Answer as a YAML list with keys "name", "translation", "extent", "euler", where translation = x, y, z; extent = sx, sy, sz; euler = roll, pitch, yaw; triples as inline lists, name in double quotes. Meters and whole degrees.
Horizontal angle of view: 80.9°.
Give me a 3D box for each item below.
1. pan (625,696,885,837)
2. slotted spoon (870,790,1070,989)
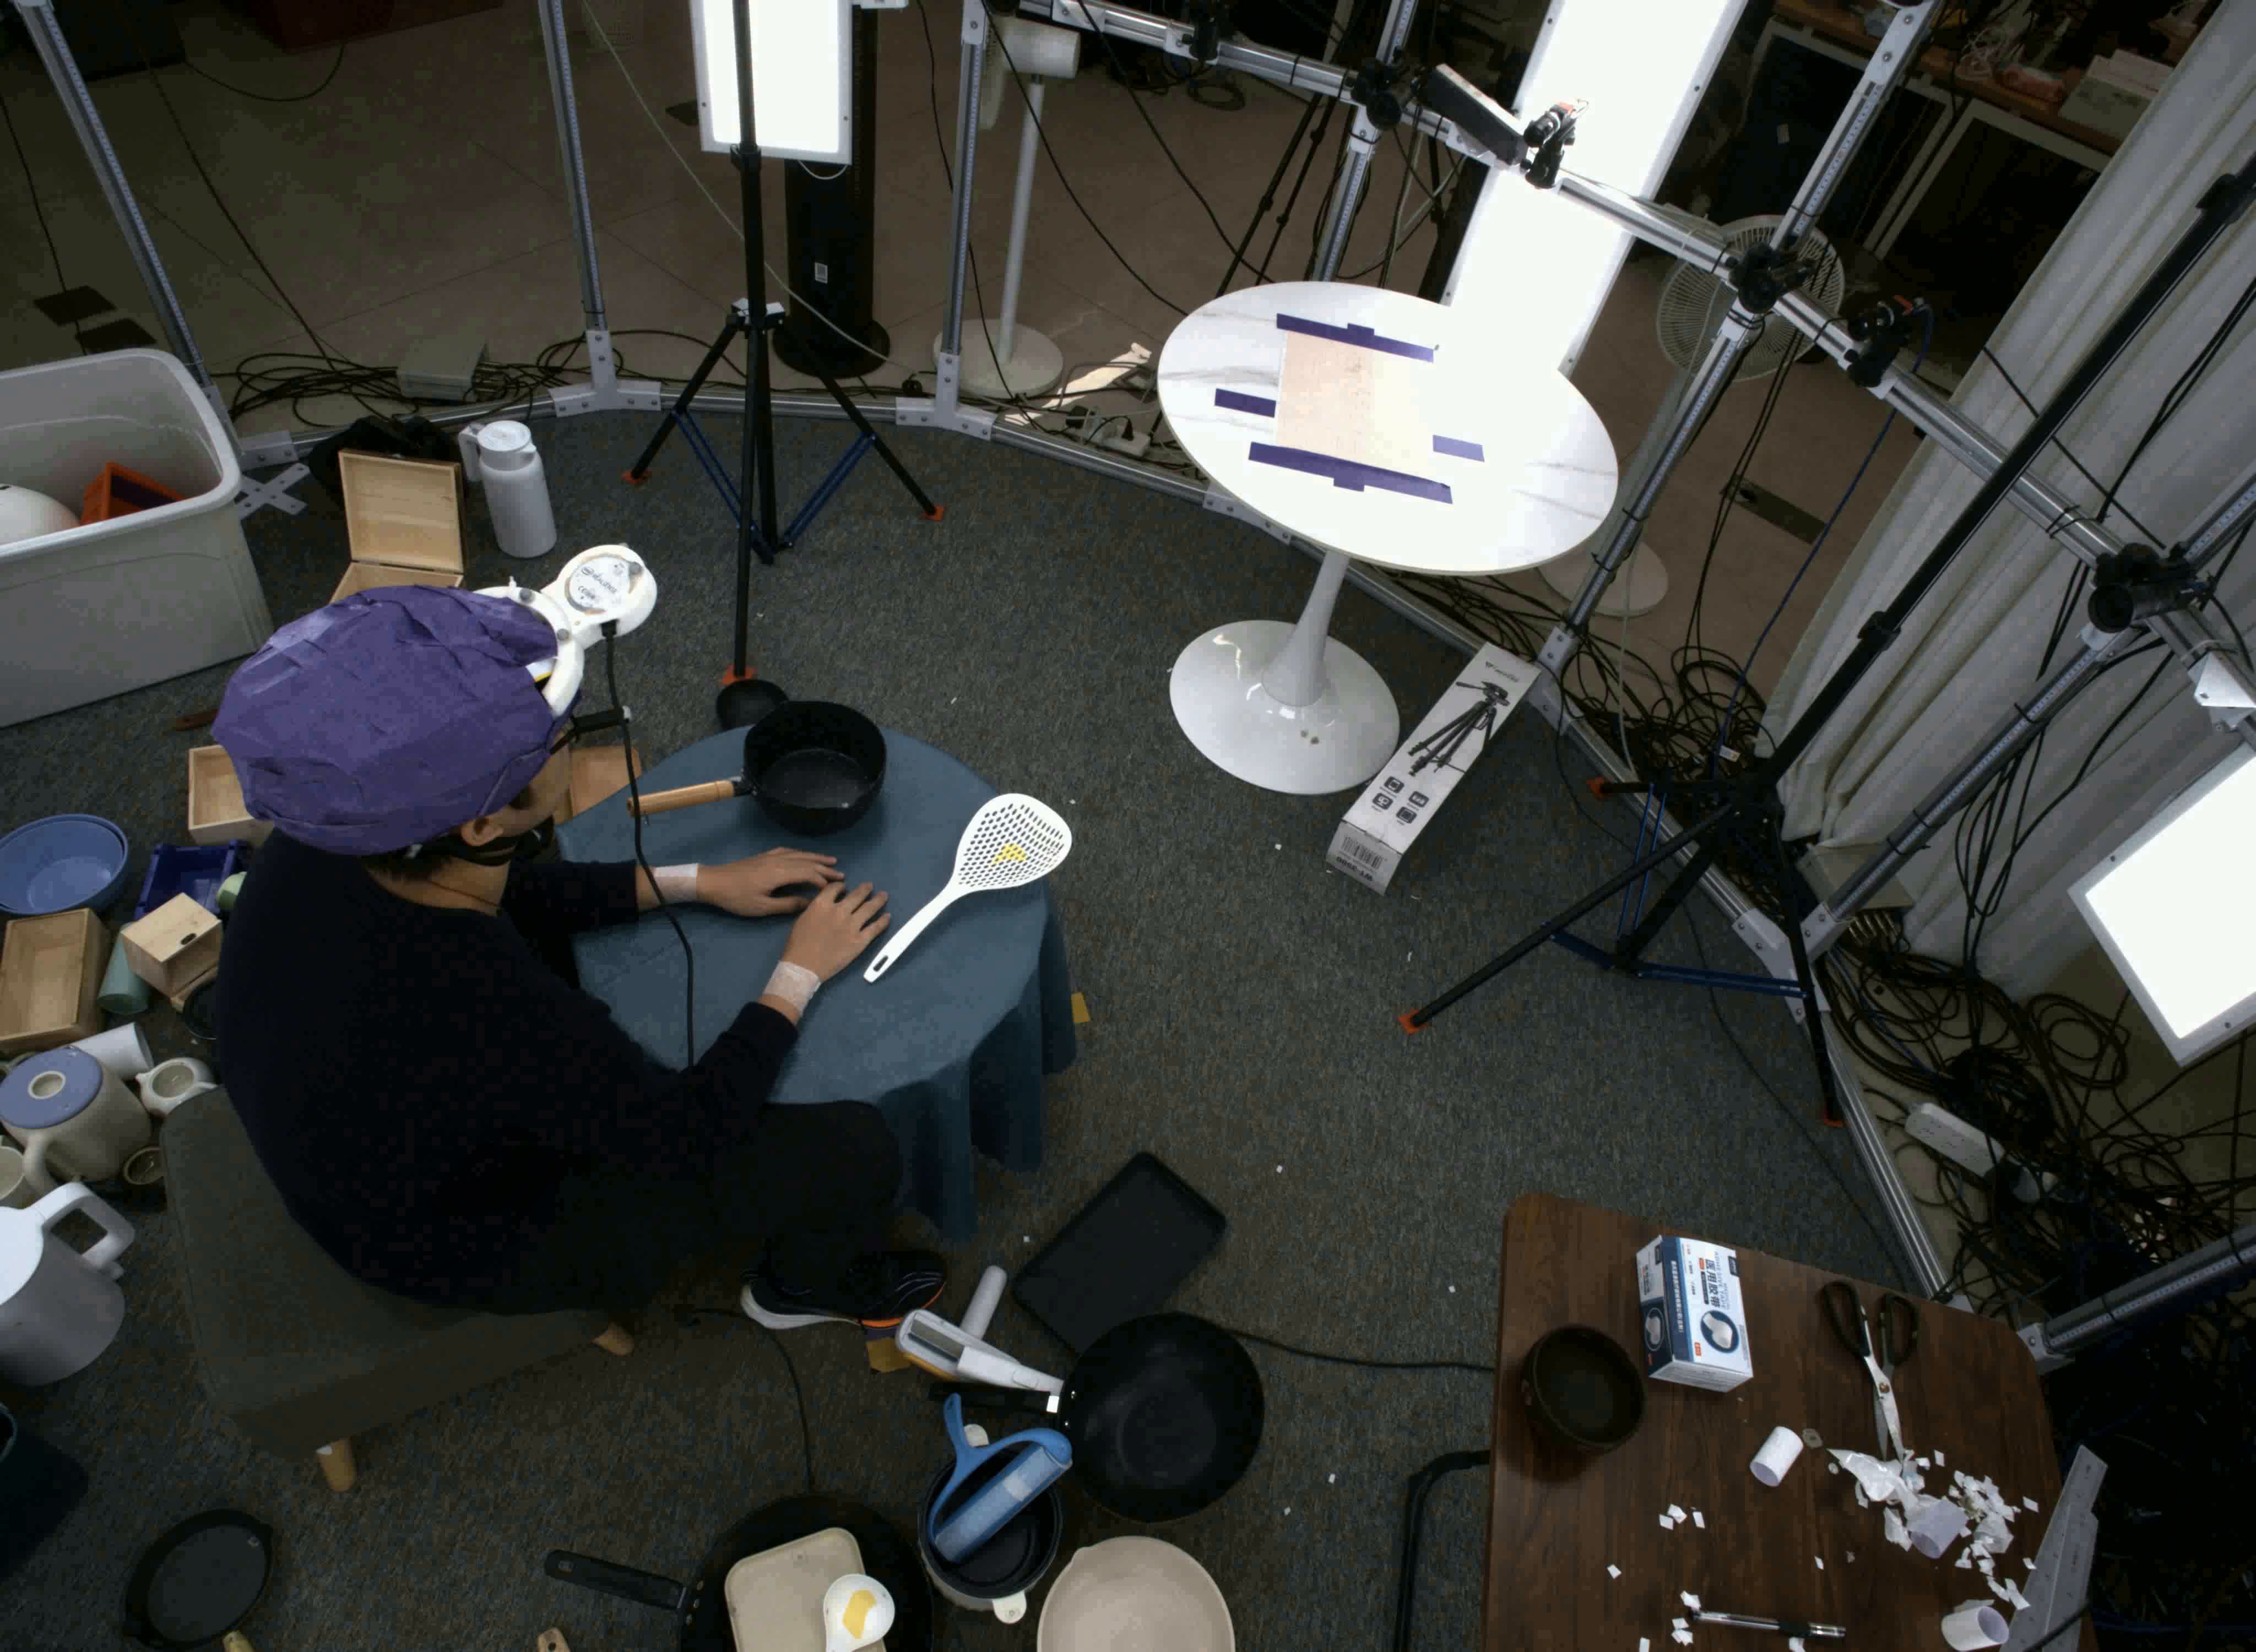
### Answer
- name: "pan"
  translation: [-0.478, -0.052, 1.669]
  extent: [0.345, 0.110, 0.202]
  euler: [-23, 63, -30]
- name: "slotted spoon"
  translation: [-0.214, 0.081, 1.682]
  extent: [0.134, 0.051, 0.348]
  euler: [37, 52, 12]
